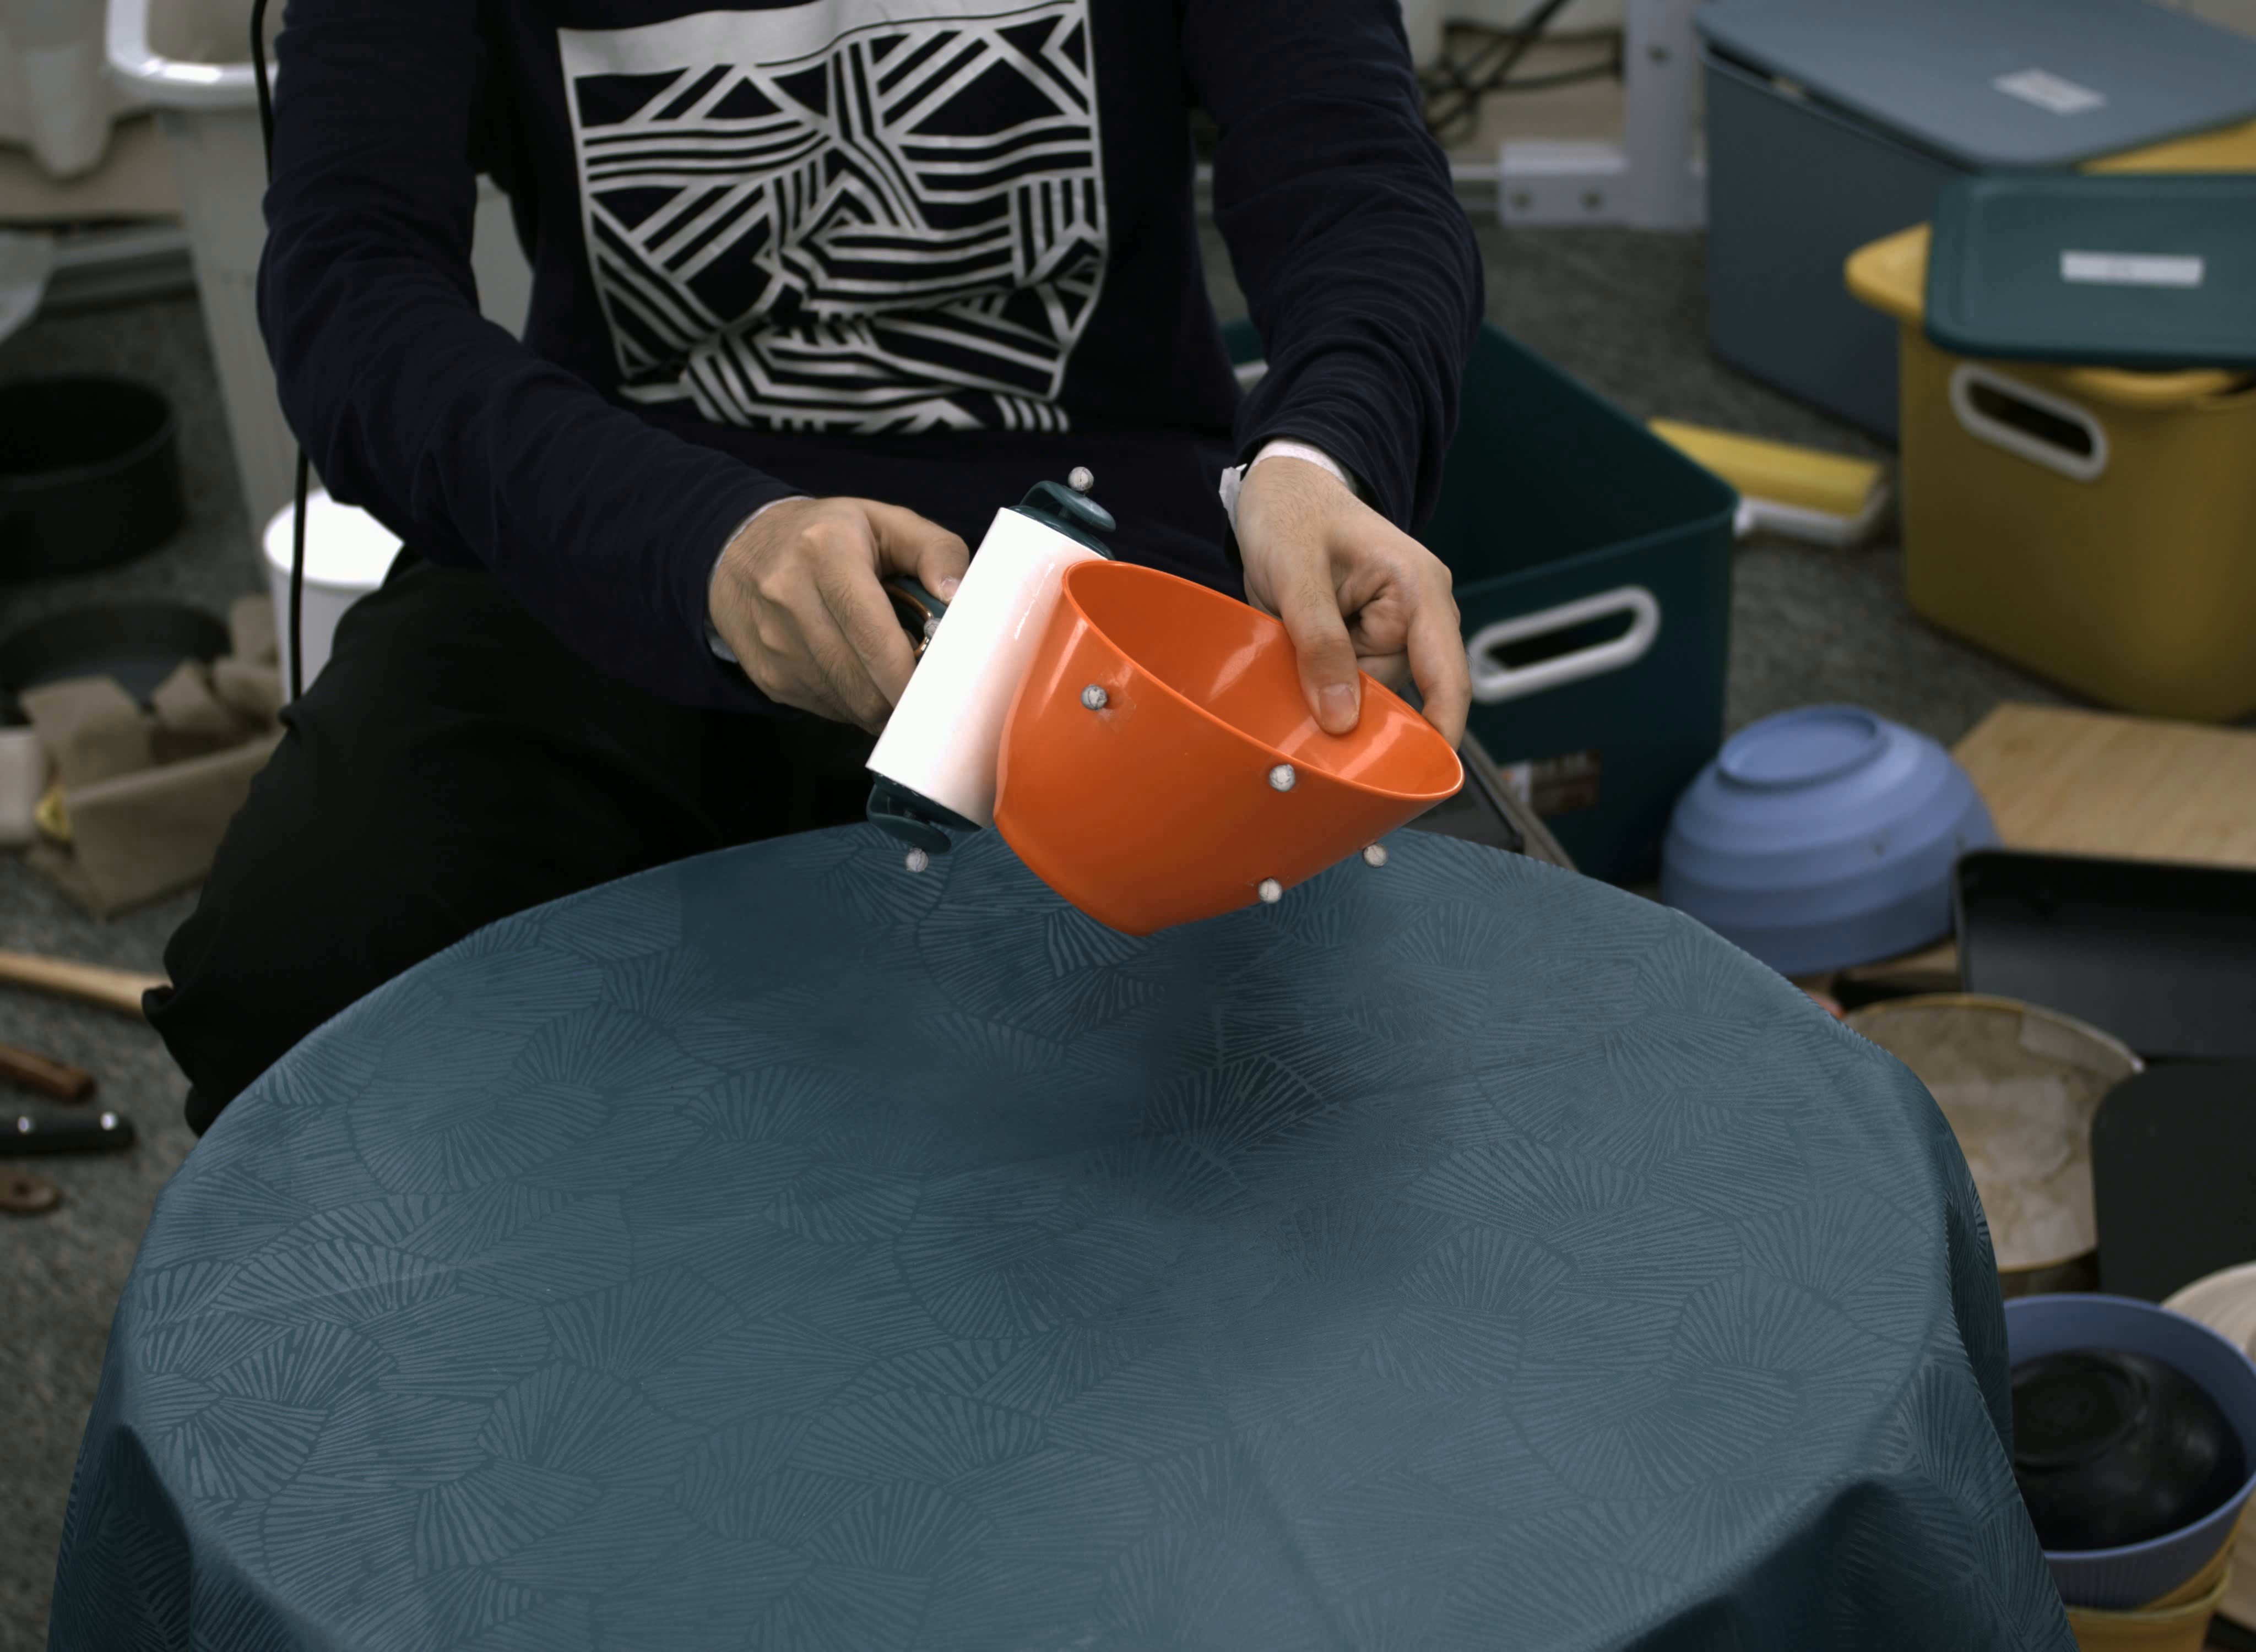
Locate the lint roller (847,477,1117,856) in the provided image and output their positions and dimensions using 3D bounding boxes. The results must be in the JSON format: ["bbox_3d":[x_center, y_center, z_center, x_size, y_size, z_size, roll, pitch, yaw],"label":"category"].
[{"bbox_3d":[-0.074,-0.065,1.954,0.048,0.135,0.180,29,-4,-28],"label":"lint roller"}]

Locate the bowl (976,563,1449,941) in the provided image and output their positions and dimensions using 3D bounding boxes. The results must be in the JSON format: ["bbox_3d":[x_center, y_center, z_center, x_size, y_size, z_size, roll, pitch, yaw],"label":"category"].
[{"bbox_3d":[0.016,-0.016,1.852,0.147,0.104,0.149,36,12,-8],"label":"bowl"}]
